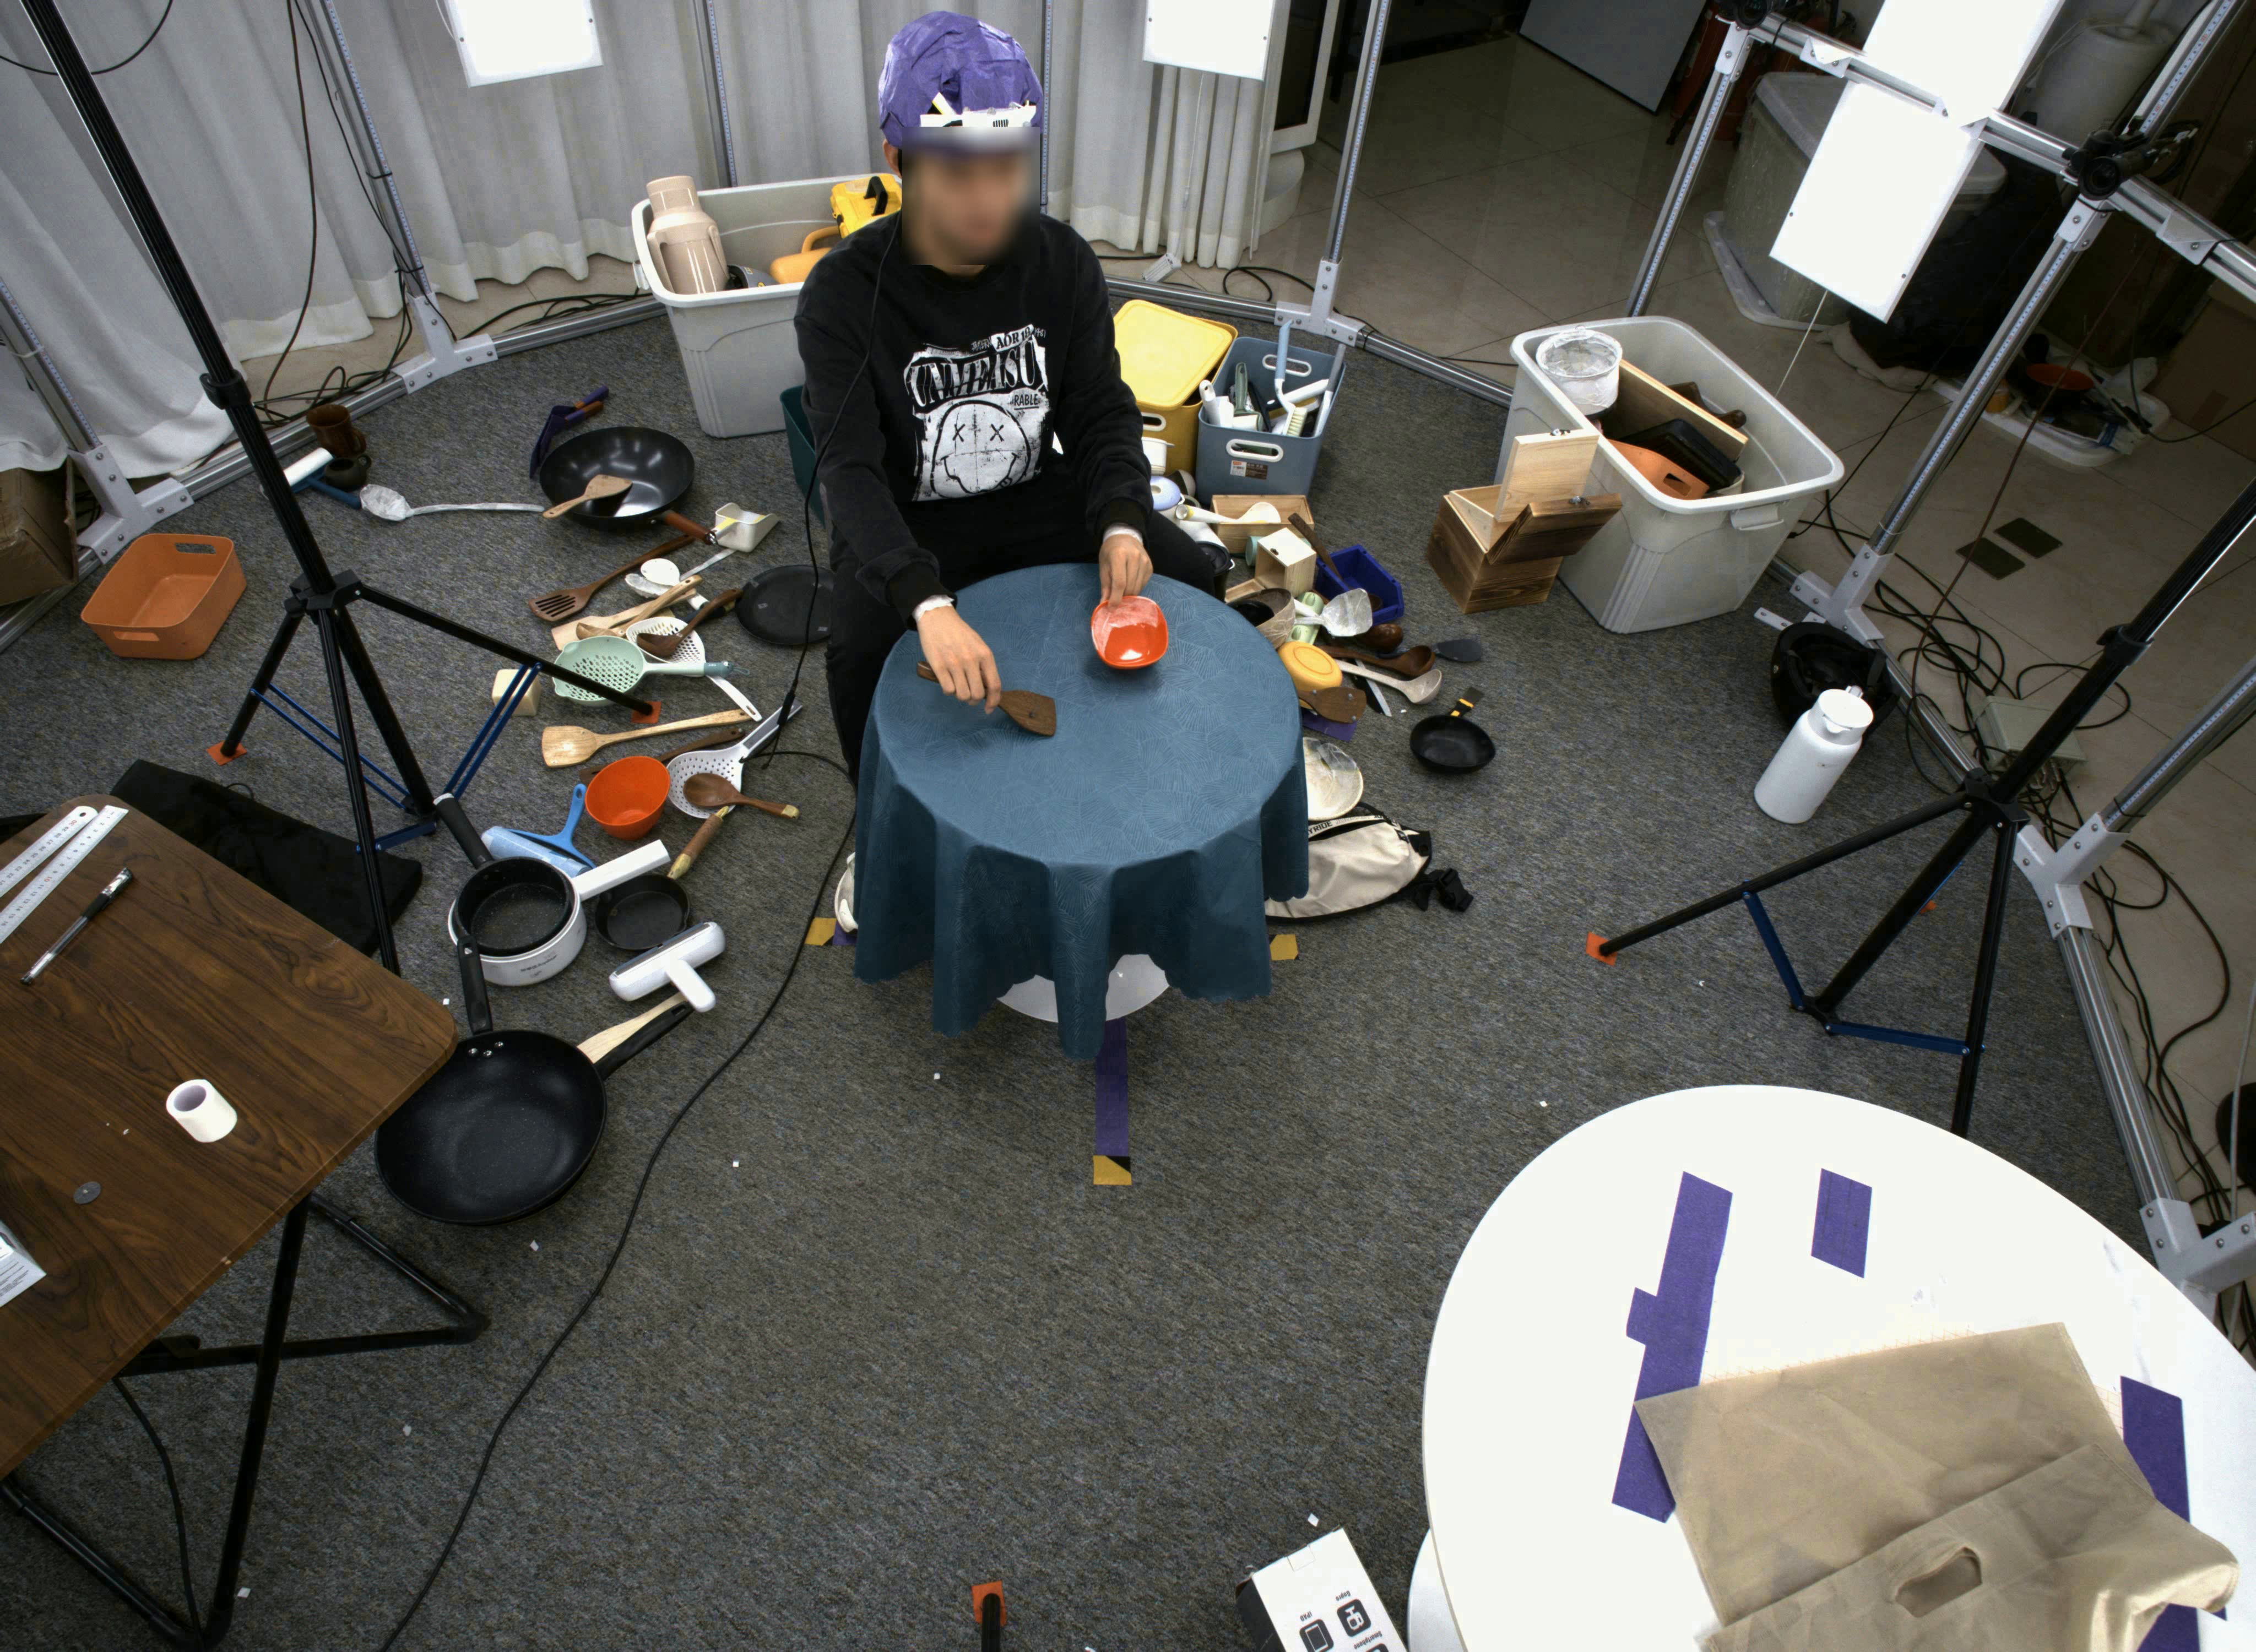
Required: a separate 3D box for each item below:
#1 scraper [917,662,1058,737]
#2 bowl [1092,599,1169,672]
[{"bbox_3d":[-0.191,-0.180,1.767,0.209,0.010,0.078,20,46,-24],"label":"scraper"},{"bbox_3d":[0.001,-0.271,1.875,0.119,0.050,0.121,2,72,-6],"label":"bowl"}]
